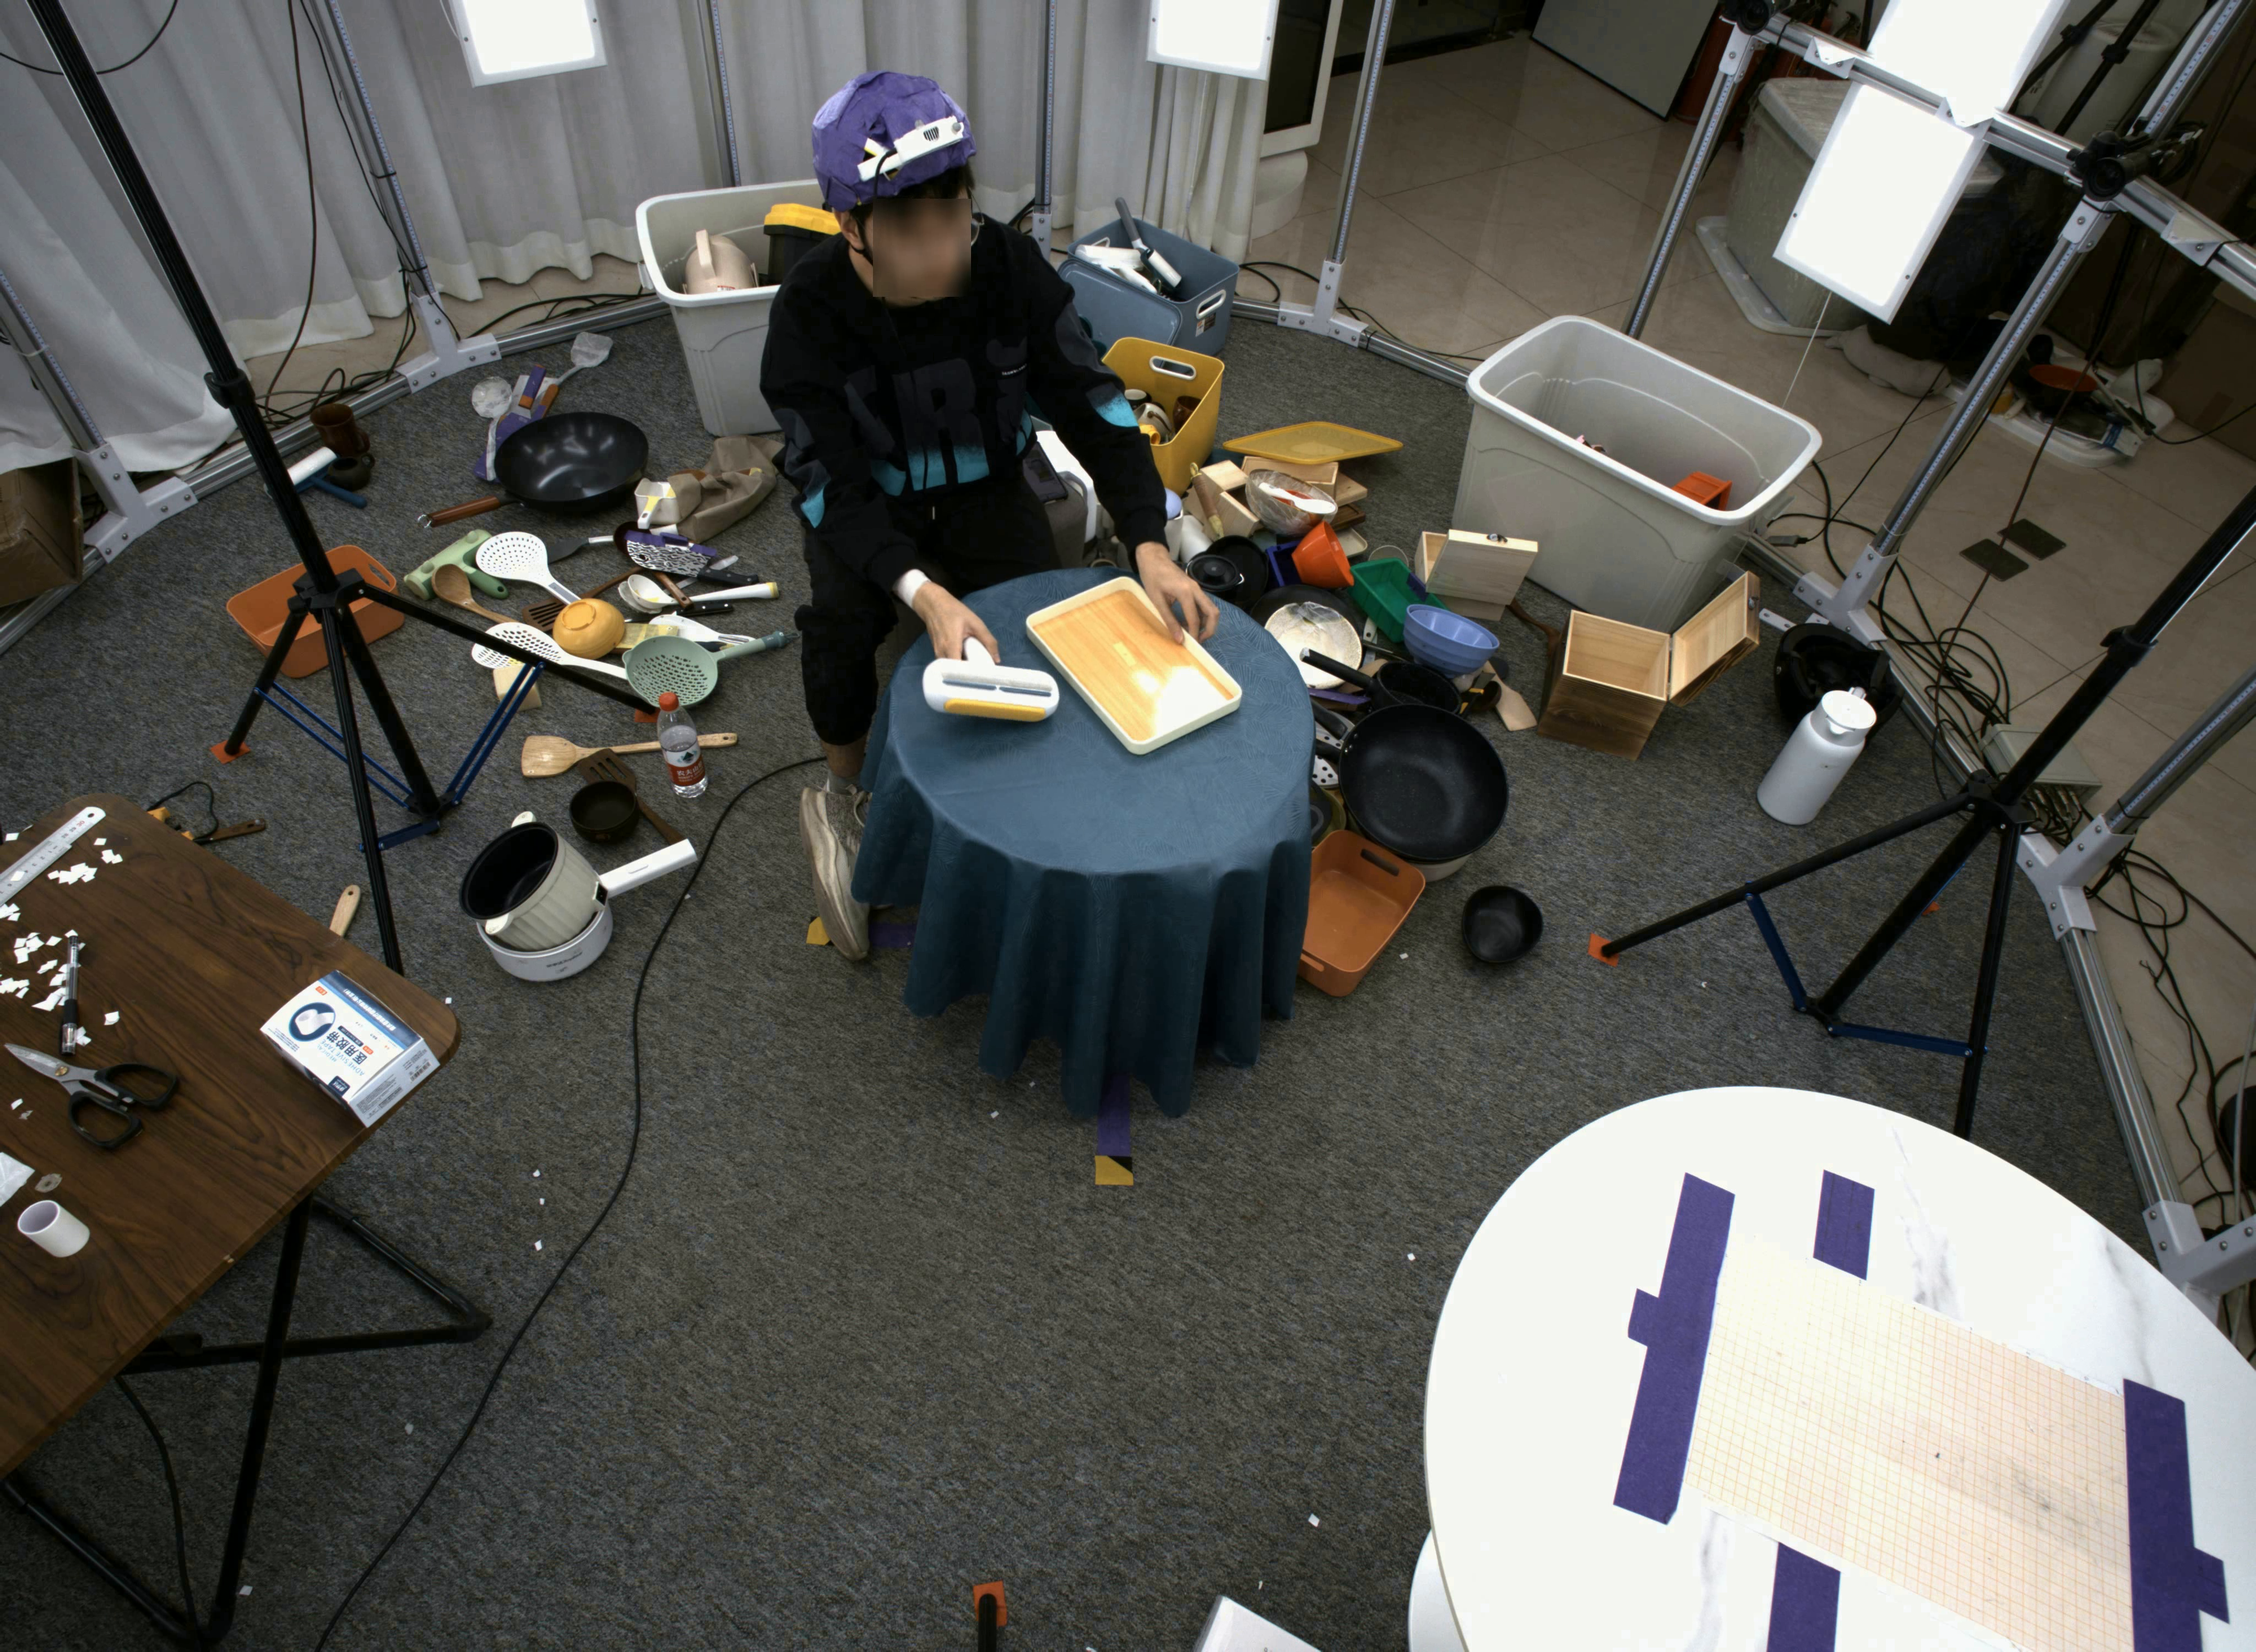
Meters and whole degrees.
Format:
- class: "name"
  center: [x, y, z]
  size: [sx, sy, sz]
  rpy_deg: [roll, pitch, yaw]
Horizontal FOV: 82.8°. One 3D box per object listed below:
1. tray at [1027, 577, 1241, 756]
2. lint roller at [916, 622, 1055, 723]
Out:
- class: "tray"
  center: [0.005, -0.237, 1.854]
  size: [0.192, 0.027, 0.306]
  rpy_deg: [-26, 56, -21]
- class: "lint roller"
  center: [-0.205, -0.224, 1.784]
  size: [0.192, 0.072, 0.197]
  rpy_deg: [2, 52, -21]
